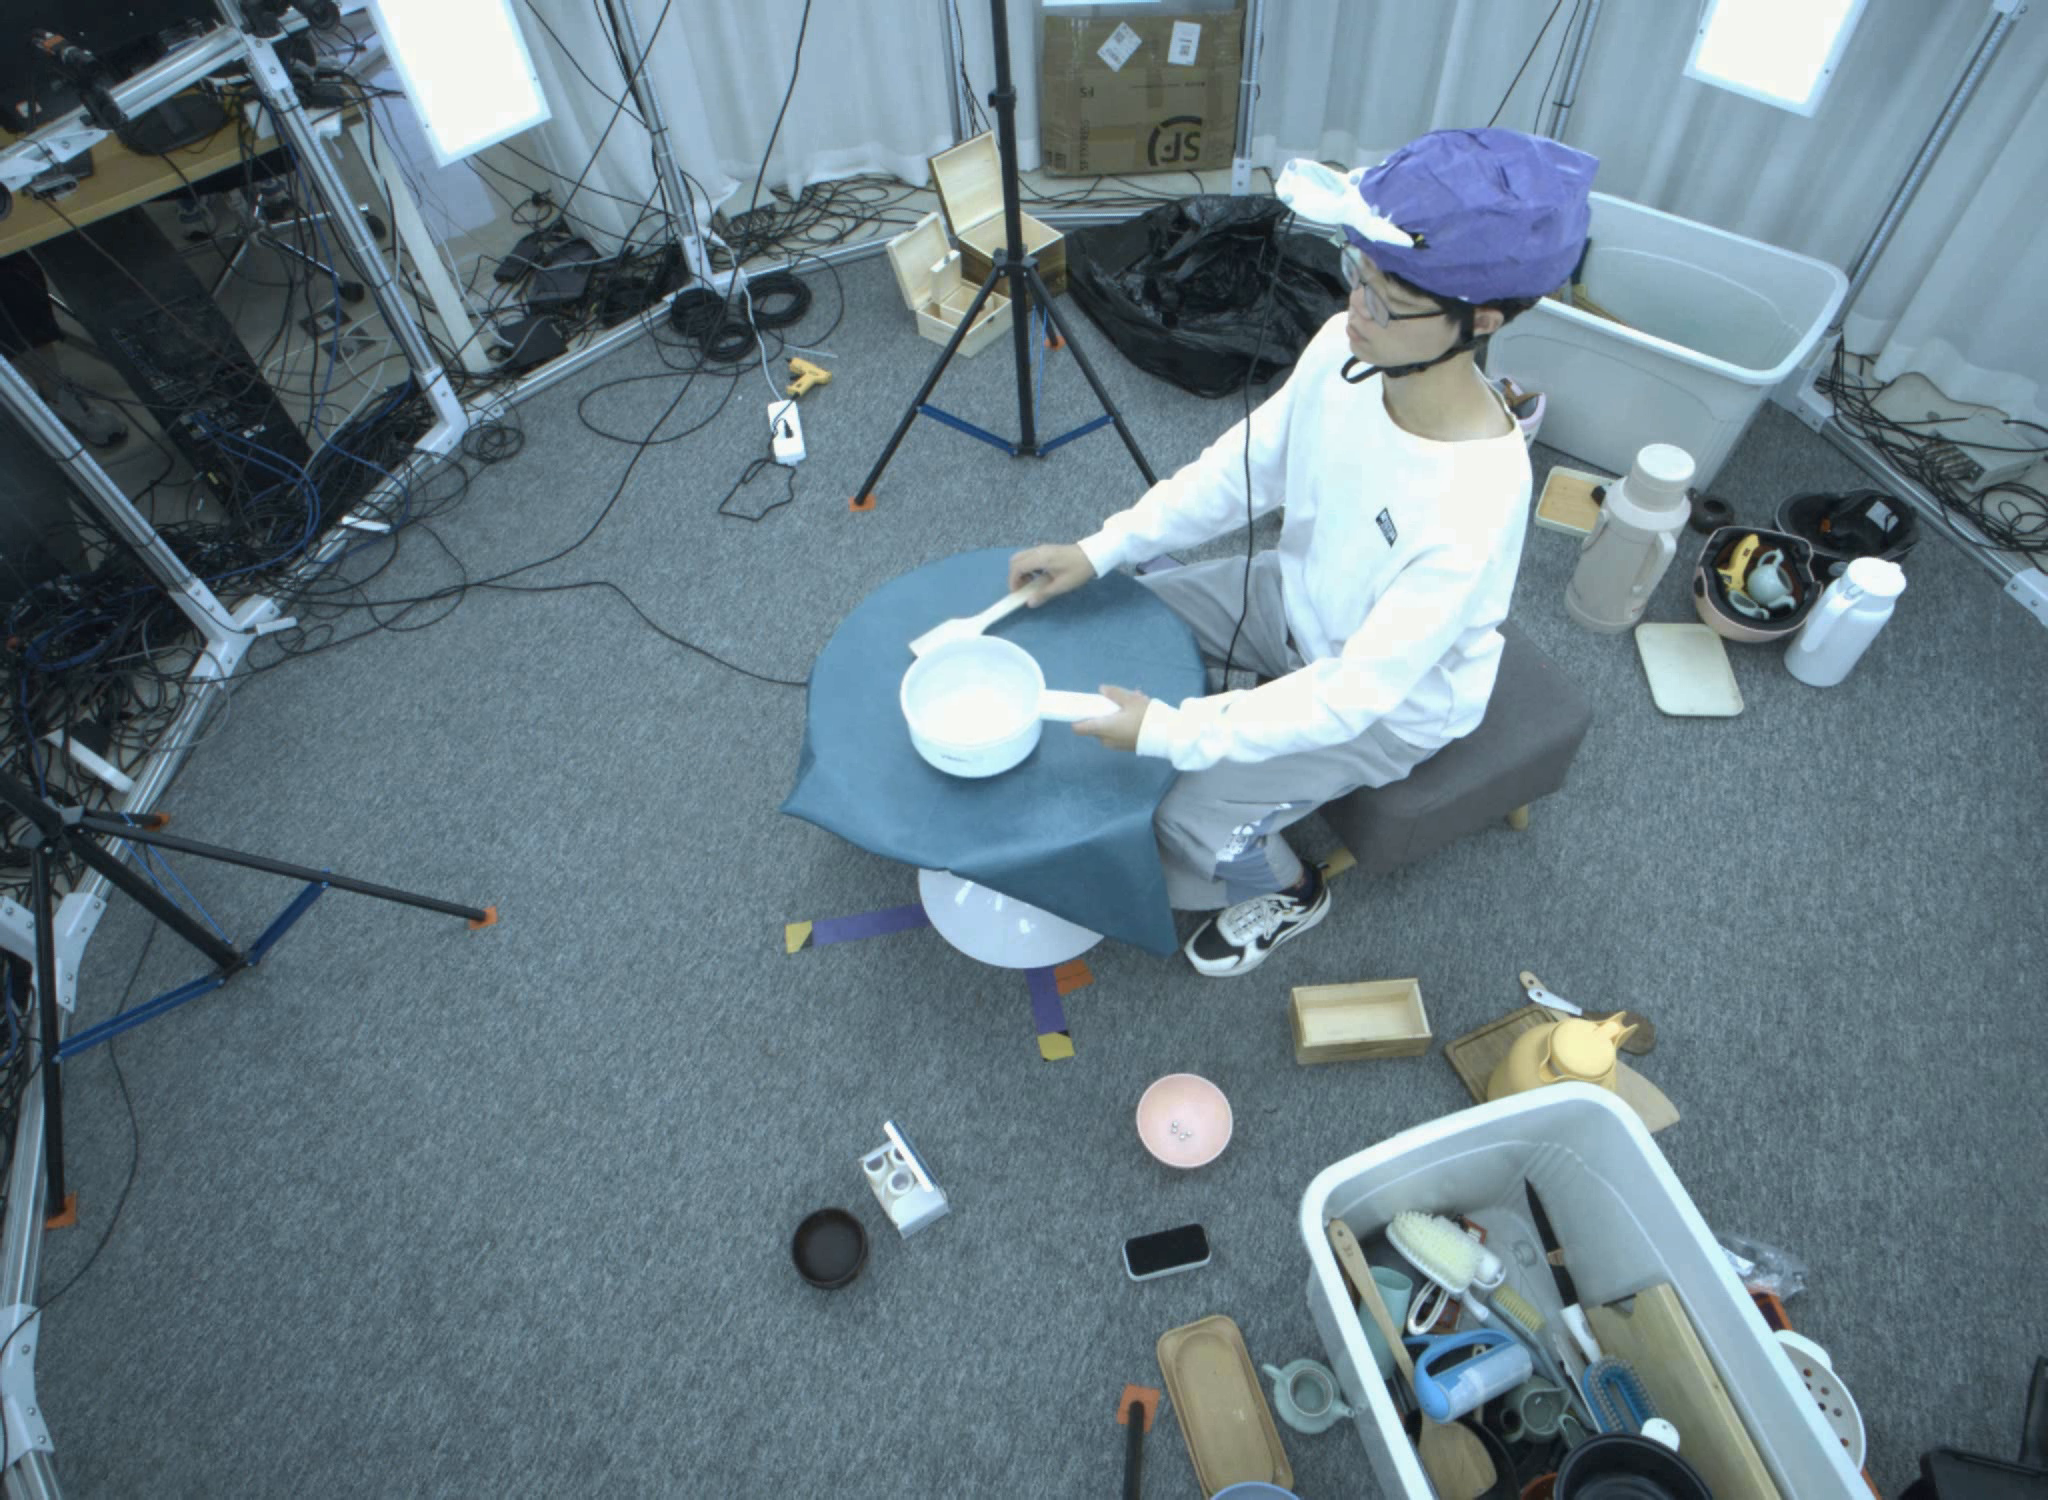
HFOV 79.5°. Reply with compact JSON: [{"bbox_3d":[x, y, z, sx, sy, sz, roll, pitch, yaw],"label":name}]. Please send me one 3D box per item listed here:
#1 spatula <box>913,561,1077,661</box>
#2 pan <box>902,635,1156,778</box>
[{"bbox_3d":[-0.038,-0.217,1.912,0.295,0.011,0.071,-34,62,-17],"label":"spatula"},{"bbox_3d":[0.007,-0.048,1.742,0.354,0.103,0.200,6,55,4],"label":"pan"}]
